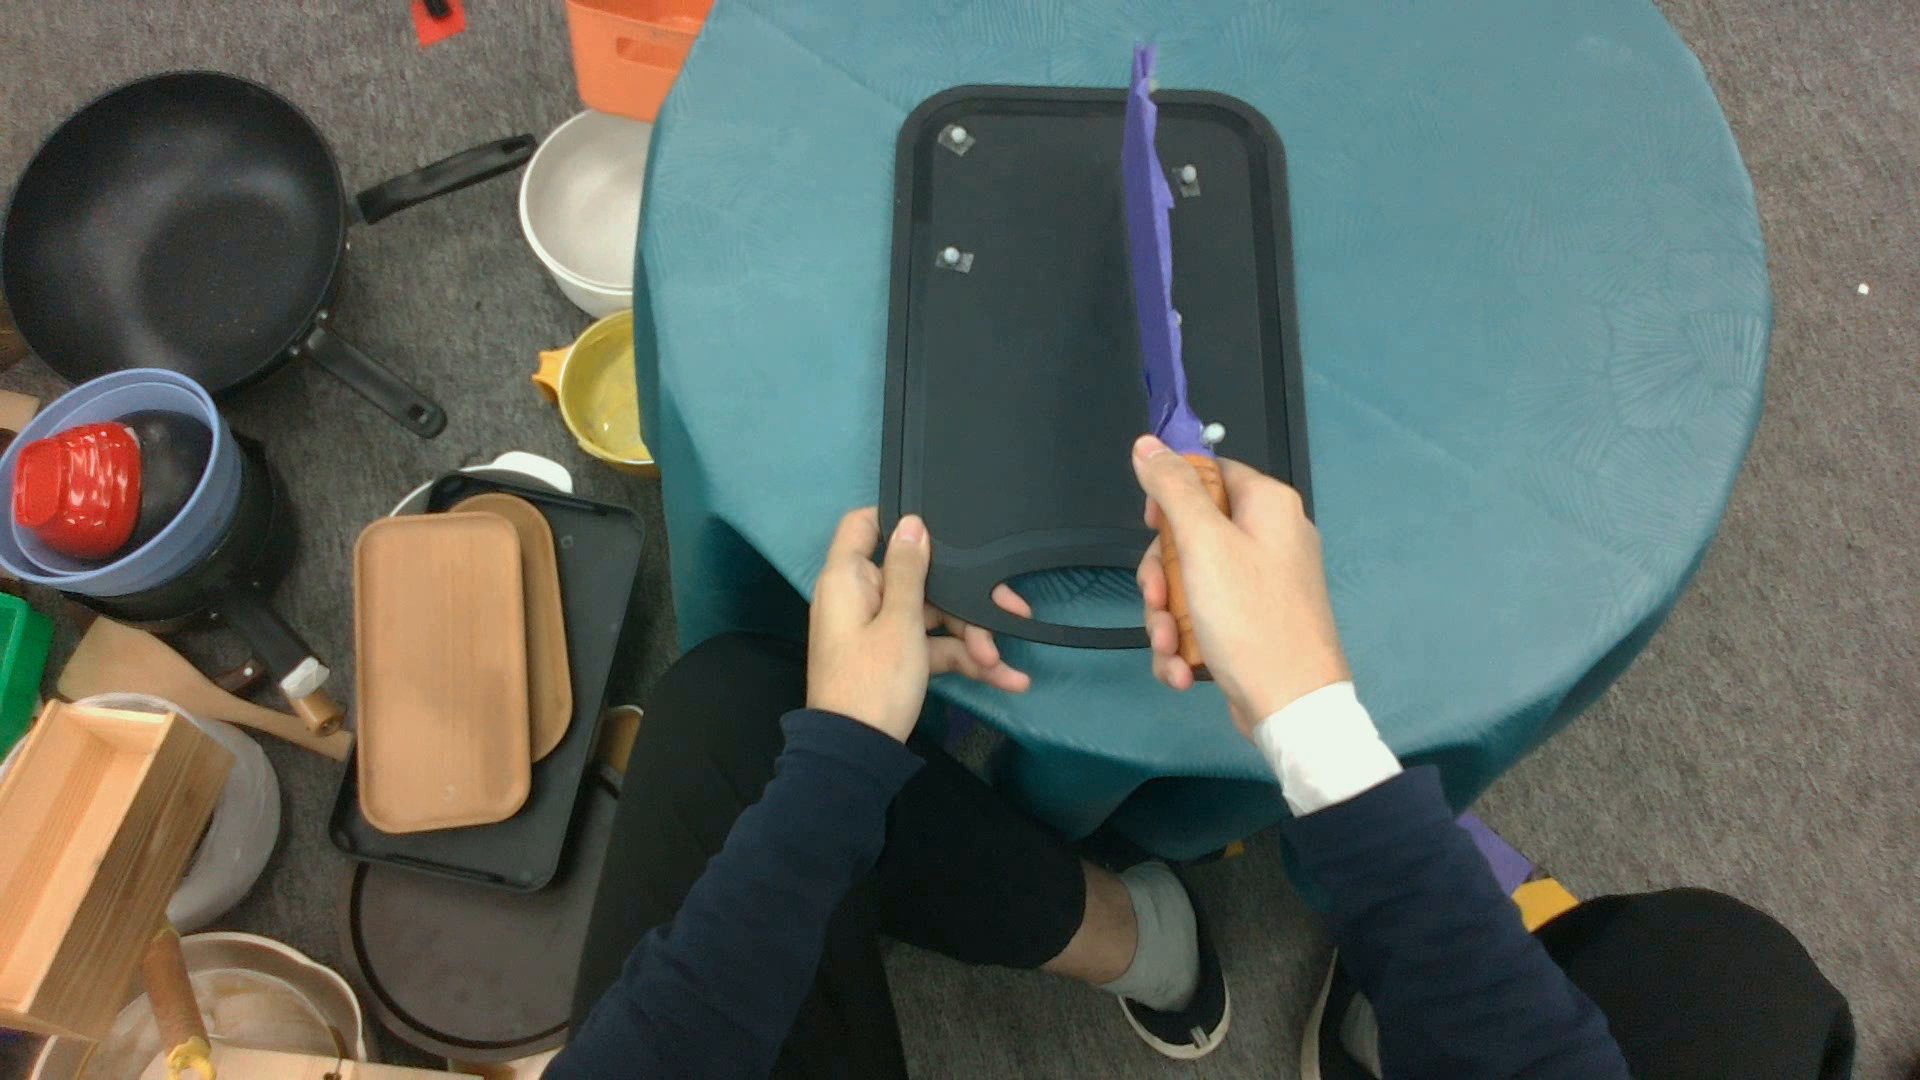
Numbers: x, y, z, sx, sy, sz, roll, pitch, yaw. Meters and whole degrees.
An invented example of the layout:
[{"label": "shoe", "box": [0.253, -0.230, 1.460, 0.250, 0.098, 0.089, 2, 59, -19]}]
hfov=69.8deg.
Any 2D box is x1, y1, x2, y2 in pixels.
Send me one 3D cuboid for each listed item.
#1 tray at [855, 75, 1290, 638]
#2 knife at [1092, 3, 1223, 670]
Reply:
[{"label": "tray", "box": [0.057, -0.105, 0.697, 0.211, 0.010, 0.326, 2, 67, -2]}, {"label": "knife", "box": [0.084, -0.088, 0.628, 0.032, 0.103, 0.316, -4, 69, 3]}]
